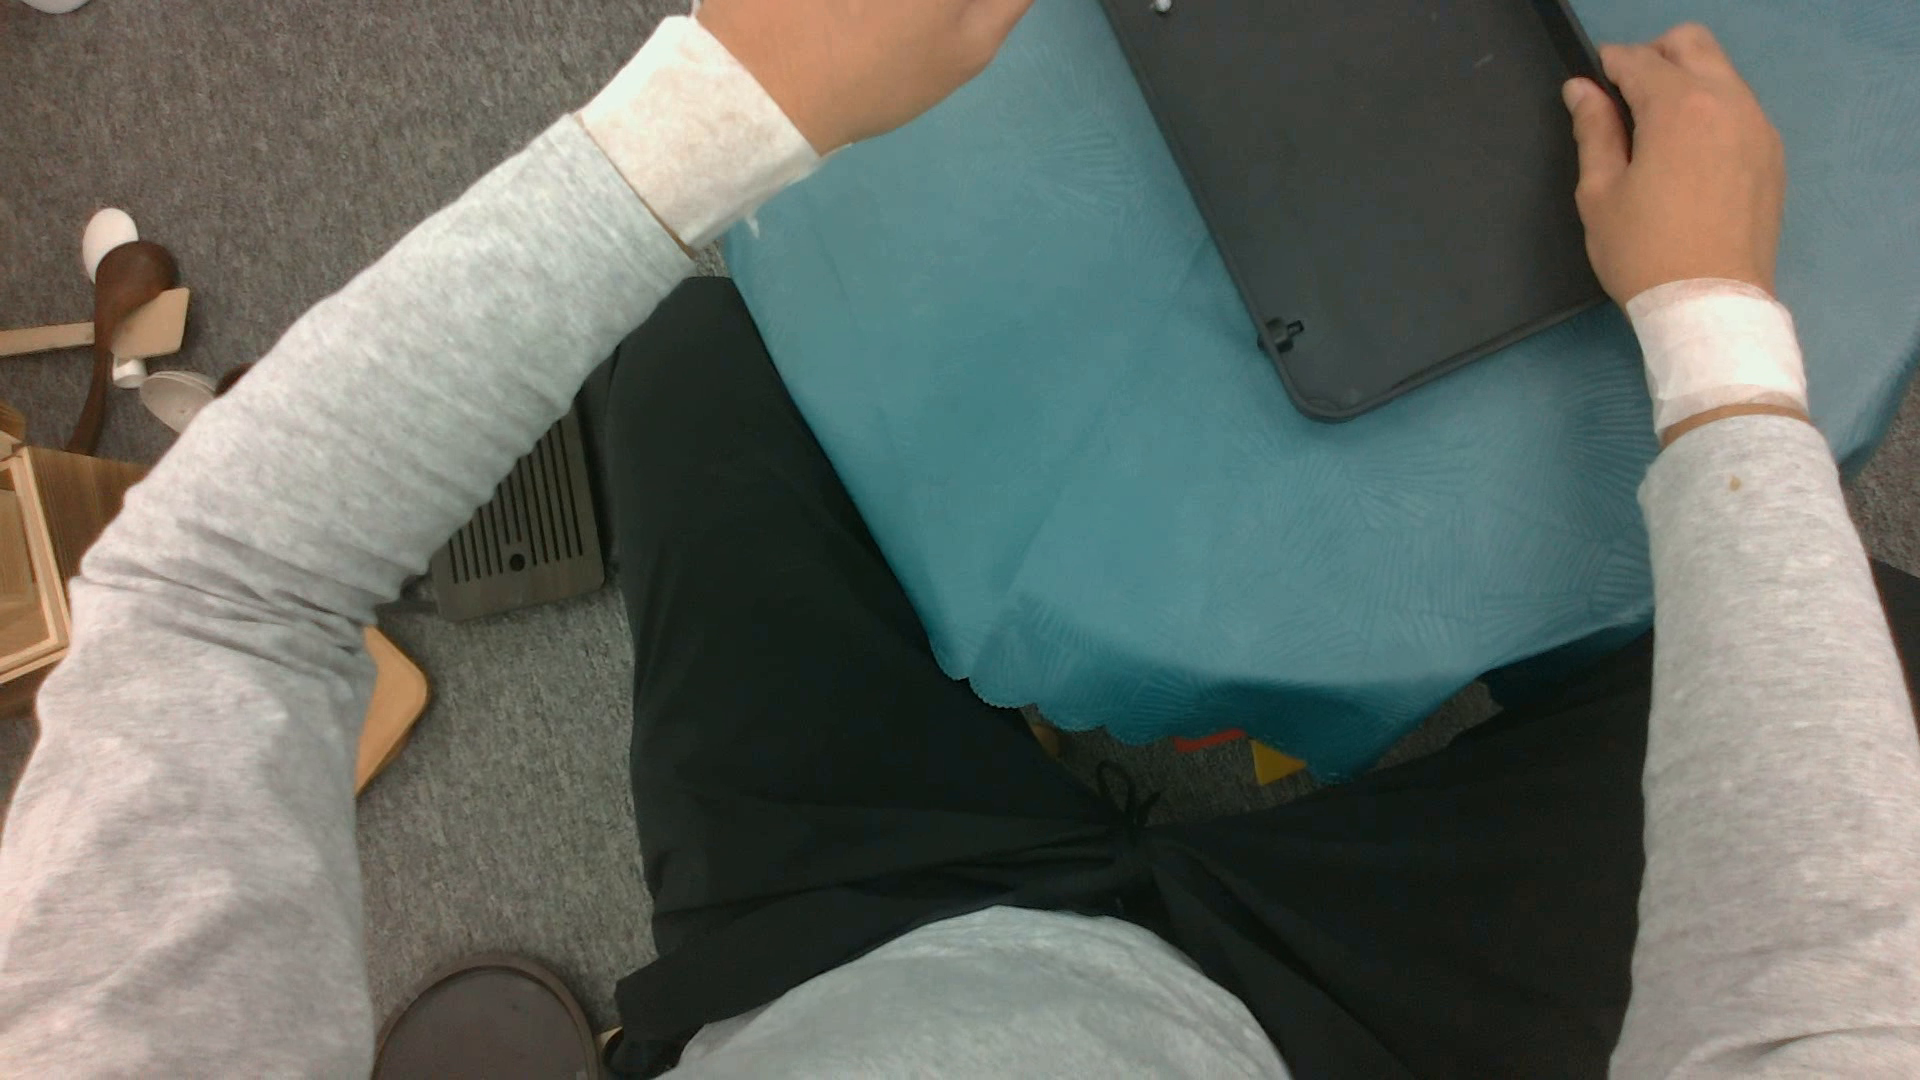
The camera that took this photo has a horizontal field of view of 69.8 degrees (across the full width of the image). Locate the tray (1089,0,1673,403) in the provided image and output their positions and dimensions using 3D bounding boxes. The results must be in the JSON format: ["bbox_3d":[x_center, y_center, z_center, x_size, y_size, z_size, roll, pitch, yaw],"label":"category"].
[{"bbox_3d":[0.175,-0.237,0.650,0.184,0.037,0.318,-26,82,8],"label":"tray"}]

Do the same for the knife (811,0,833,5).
[{"bbox_3d":[0.053,-0.236,0.474,0.238,0.016,0.024,-21,50,6],"label":"knife"}]
